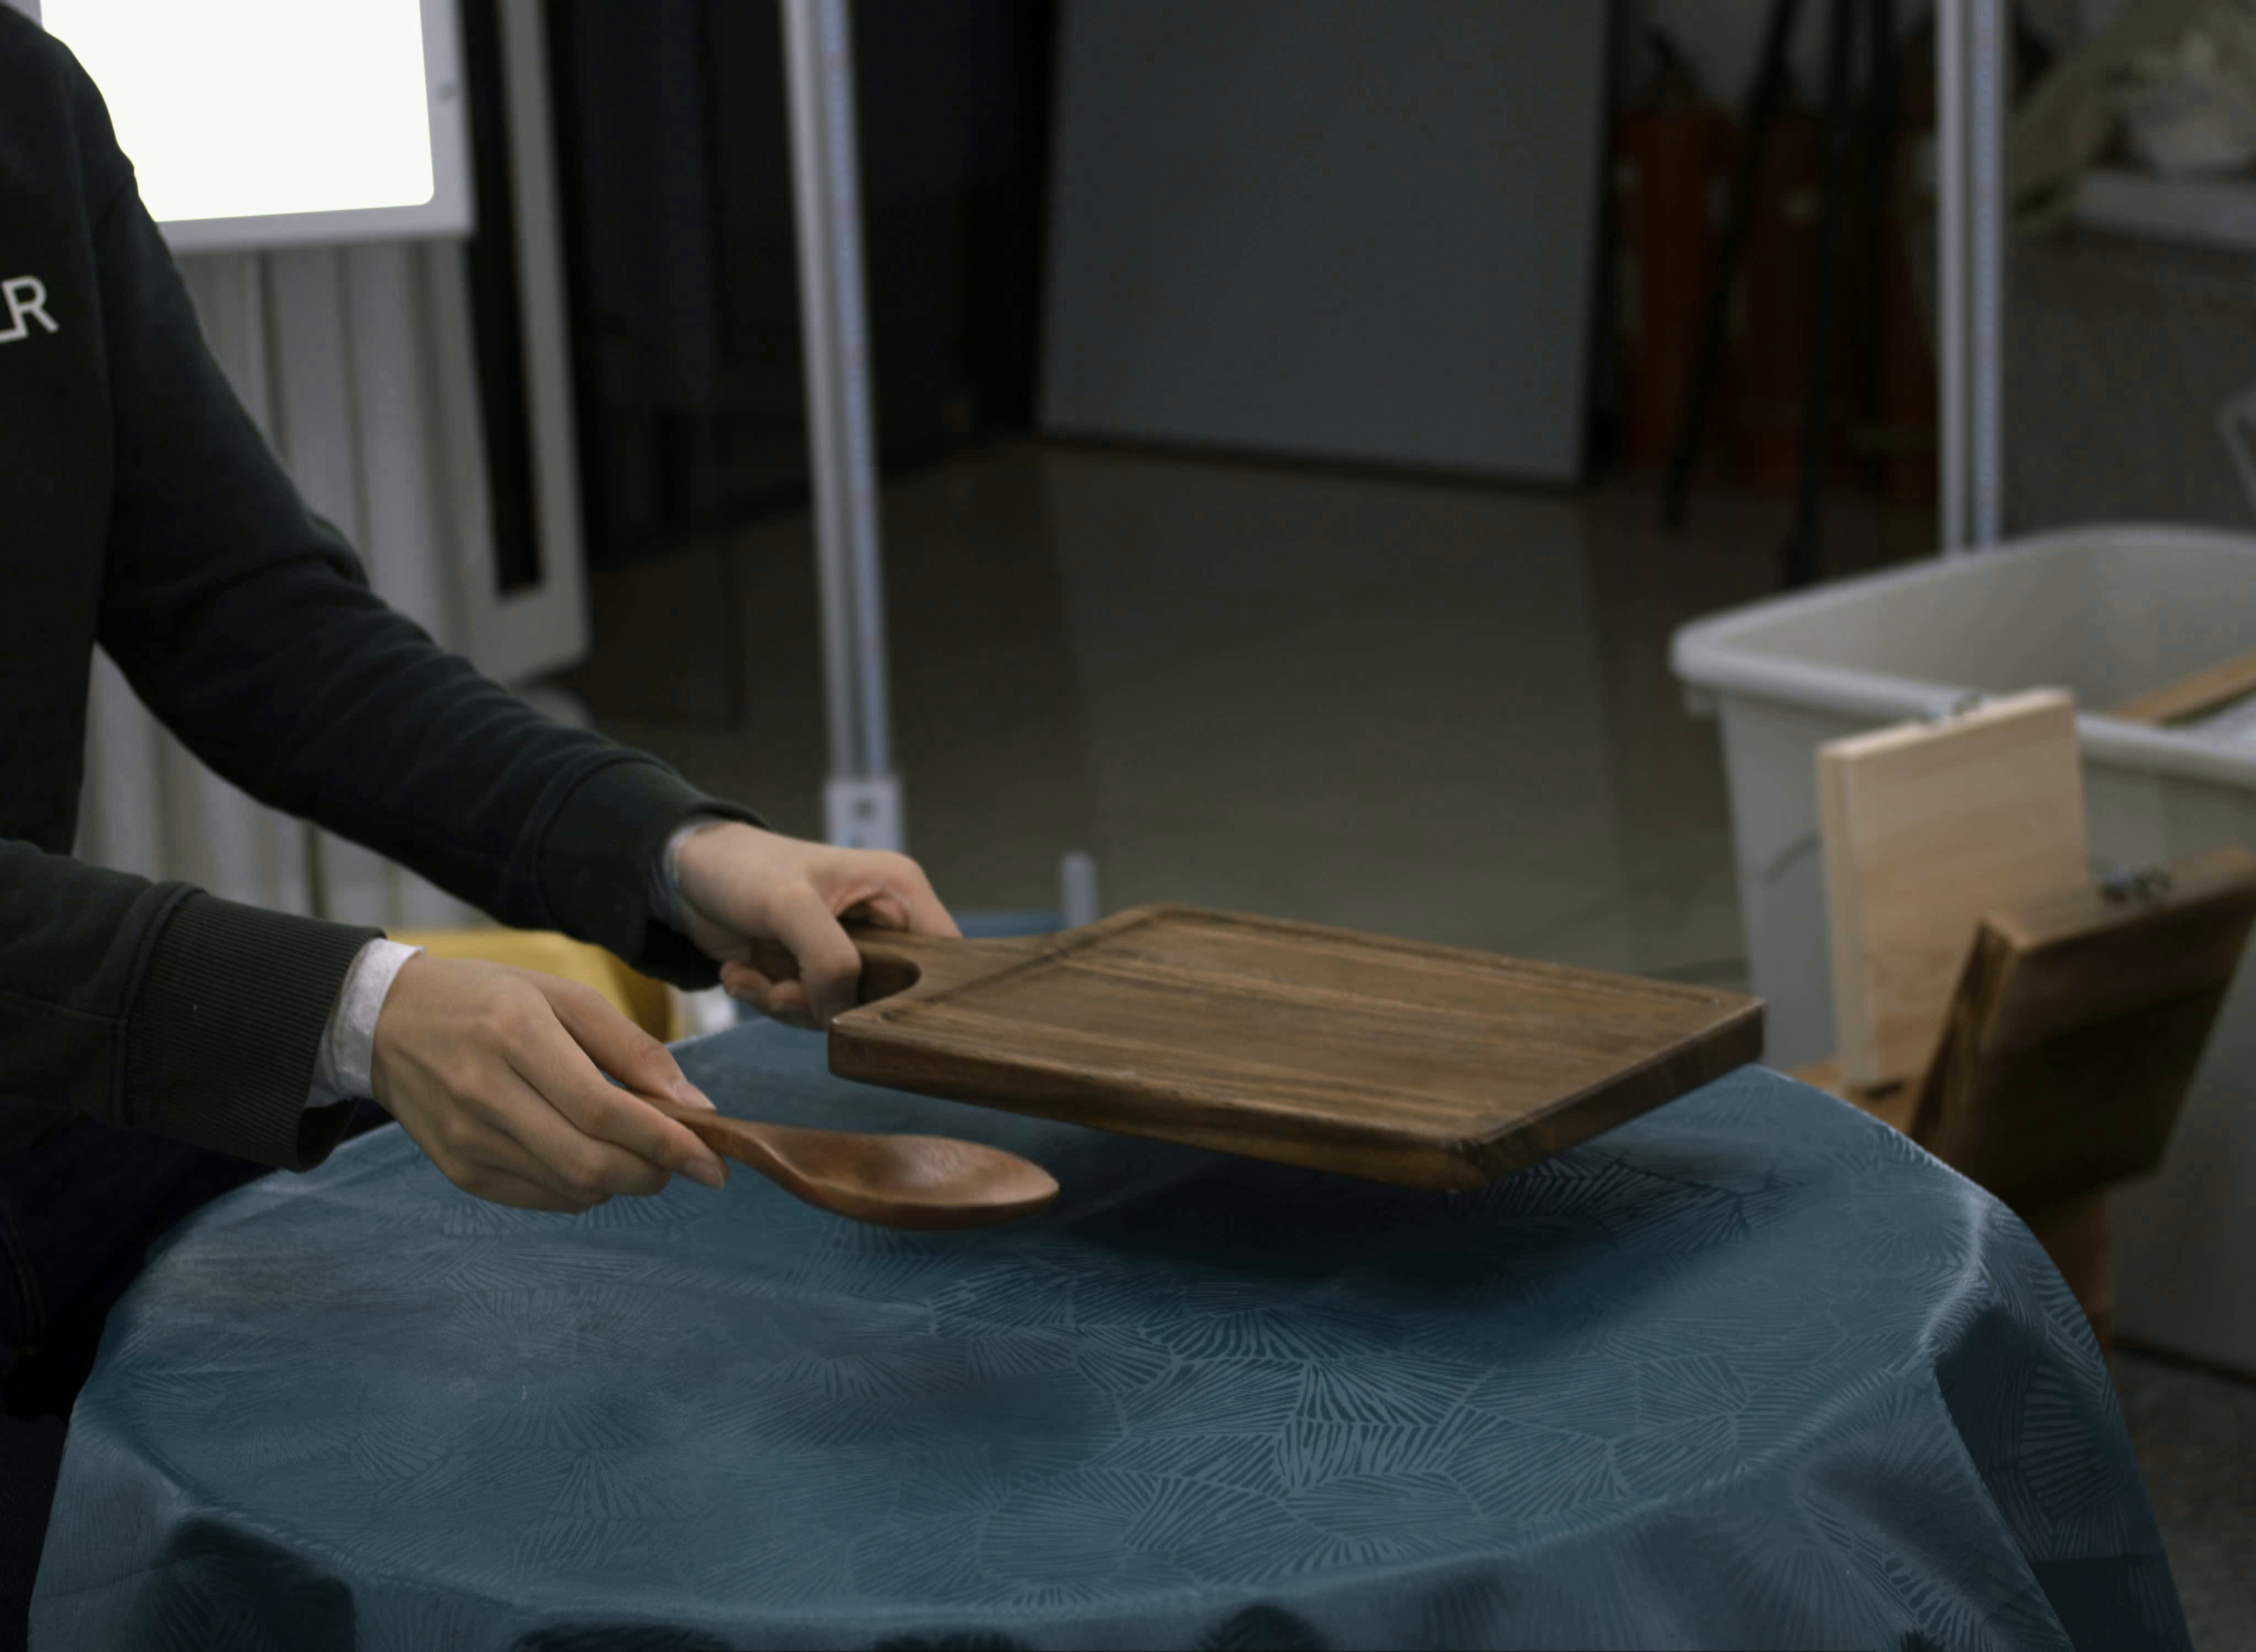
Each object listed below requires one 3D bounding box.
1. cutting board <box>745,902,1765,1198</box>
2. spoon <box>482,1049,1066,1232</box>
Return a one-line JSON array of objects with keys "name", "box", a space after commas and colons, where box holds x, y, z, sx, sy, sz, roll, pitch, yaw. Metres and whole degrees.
[{"name": "cutting board", "box": [0.015, 0.063, 1.779, 0.354, 0.023, 0.197, 8, 17, 35]}, {"name": "spoon", "box": [-0.111, 0.095, 1.630, 0.217, 0.017, 0.074, 12, 17, 36]}]
